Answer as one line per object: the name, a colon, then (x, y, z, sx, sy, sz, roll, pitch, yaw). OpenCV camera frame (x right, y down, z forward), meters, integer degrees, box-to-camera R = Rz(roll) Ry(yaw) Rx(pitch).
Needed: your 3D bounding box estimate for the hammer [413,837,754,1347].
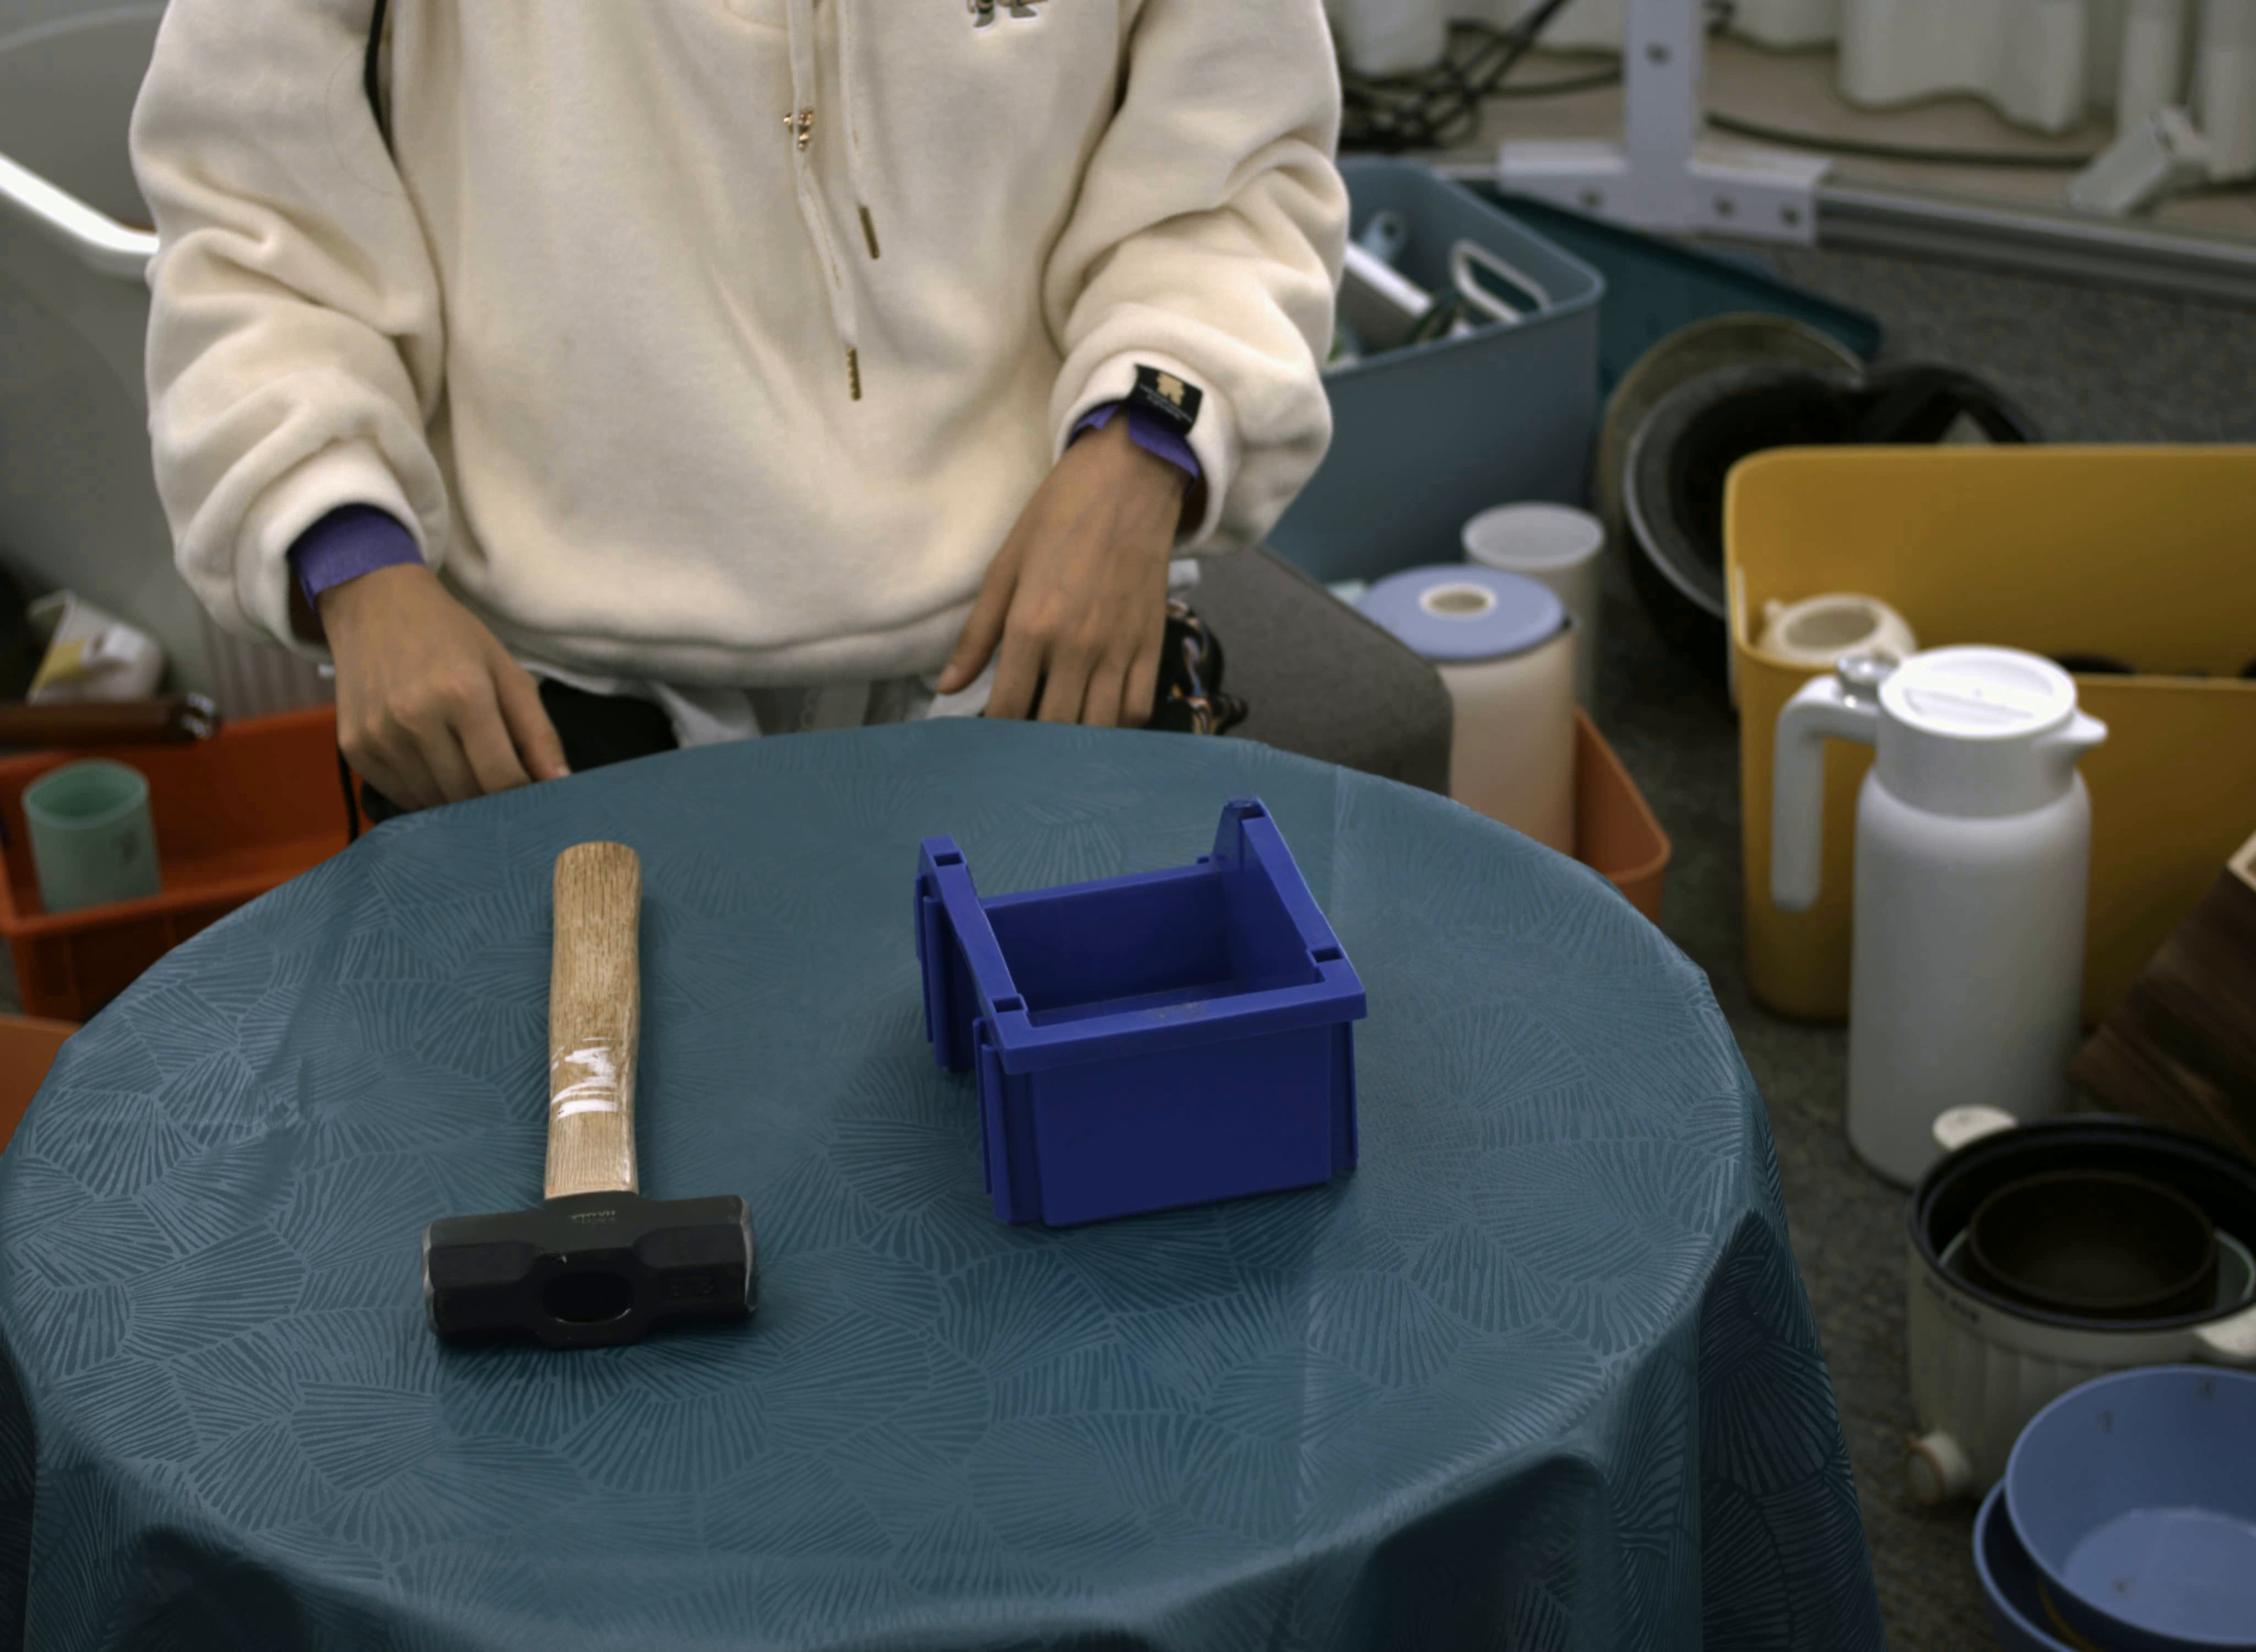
hammer: (-0.179, 0.083, 1.918, 0.107, 0.038, 0.309, -4, 26, -1)

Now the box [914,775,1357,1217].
box: (-0.002, 0.053, 1.907, 0.124, 0.081, 0.181, -8, 30, -9)
